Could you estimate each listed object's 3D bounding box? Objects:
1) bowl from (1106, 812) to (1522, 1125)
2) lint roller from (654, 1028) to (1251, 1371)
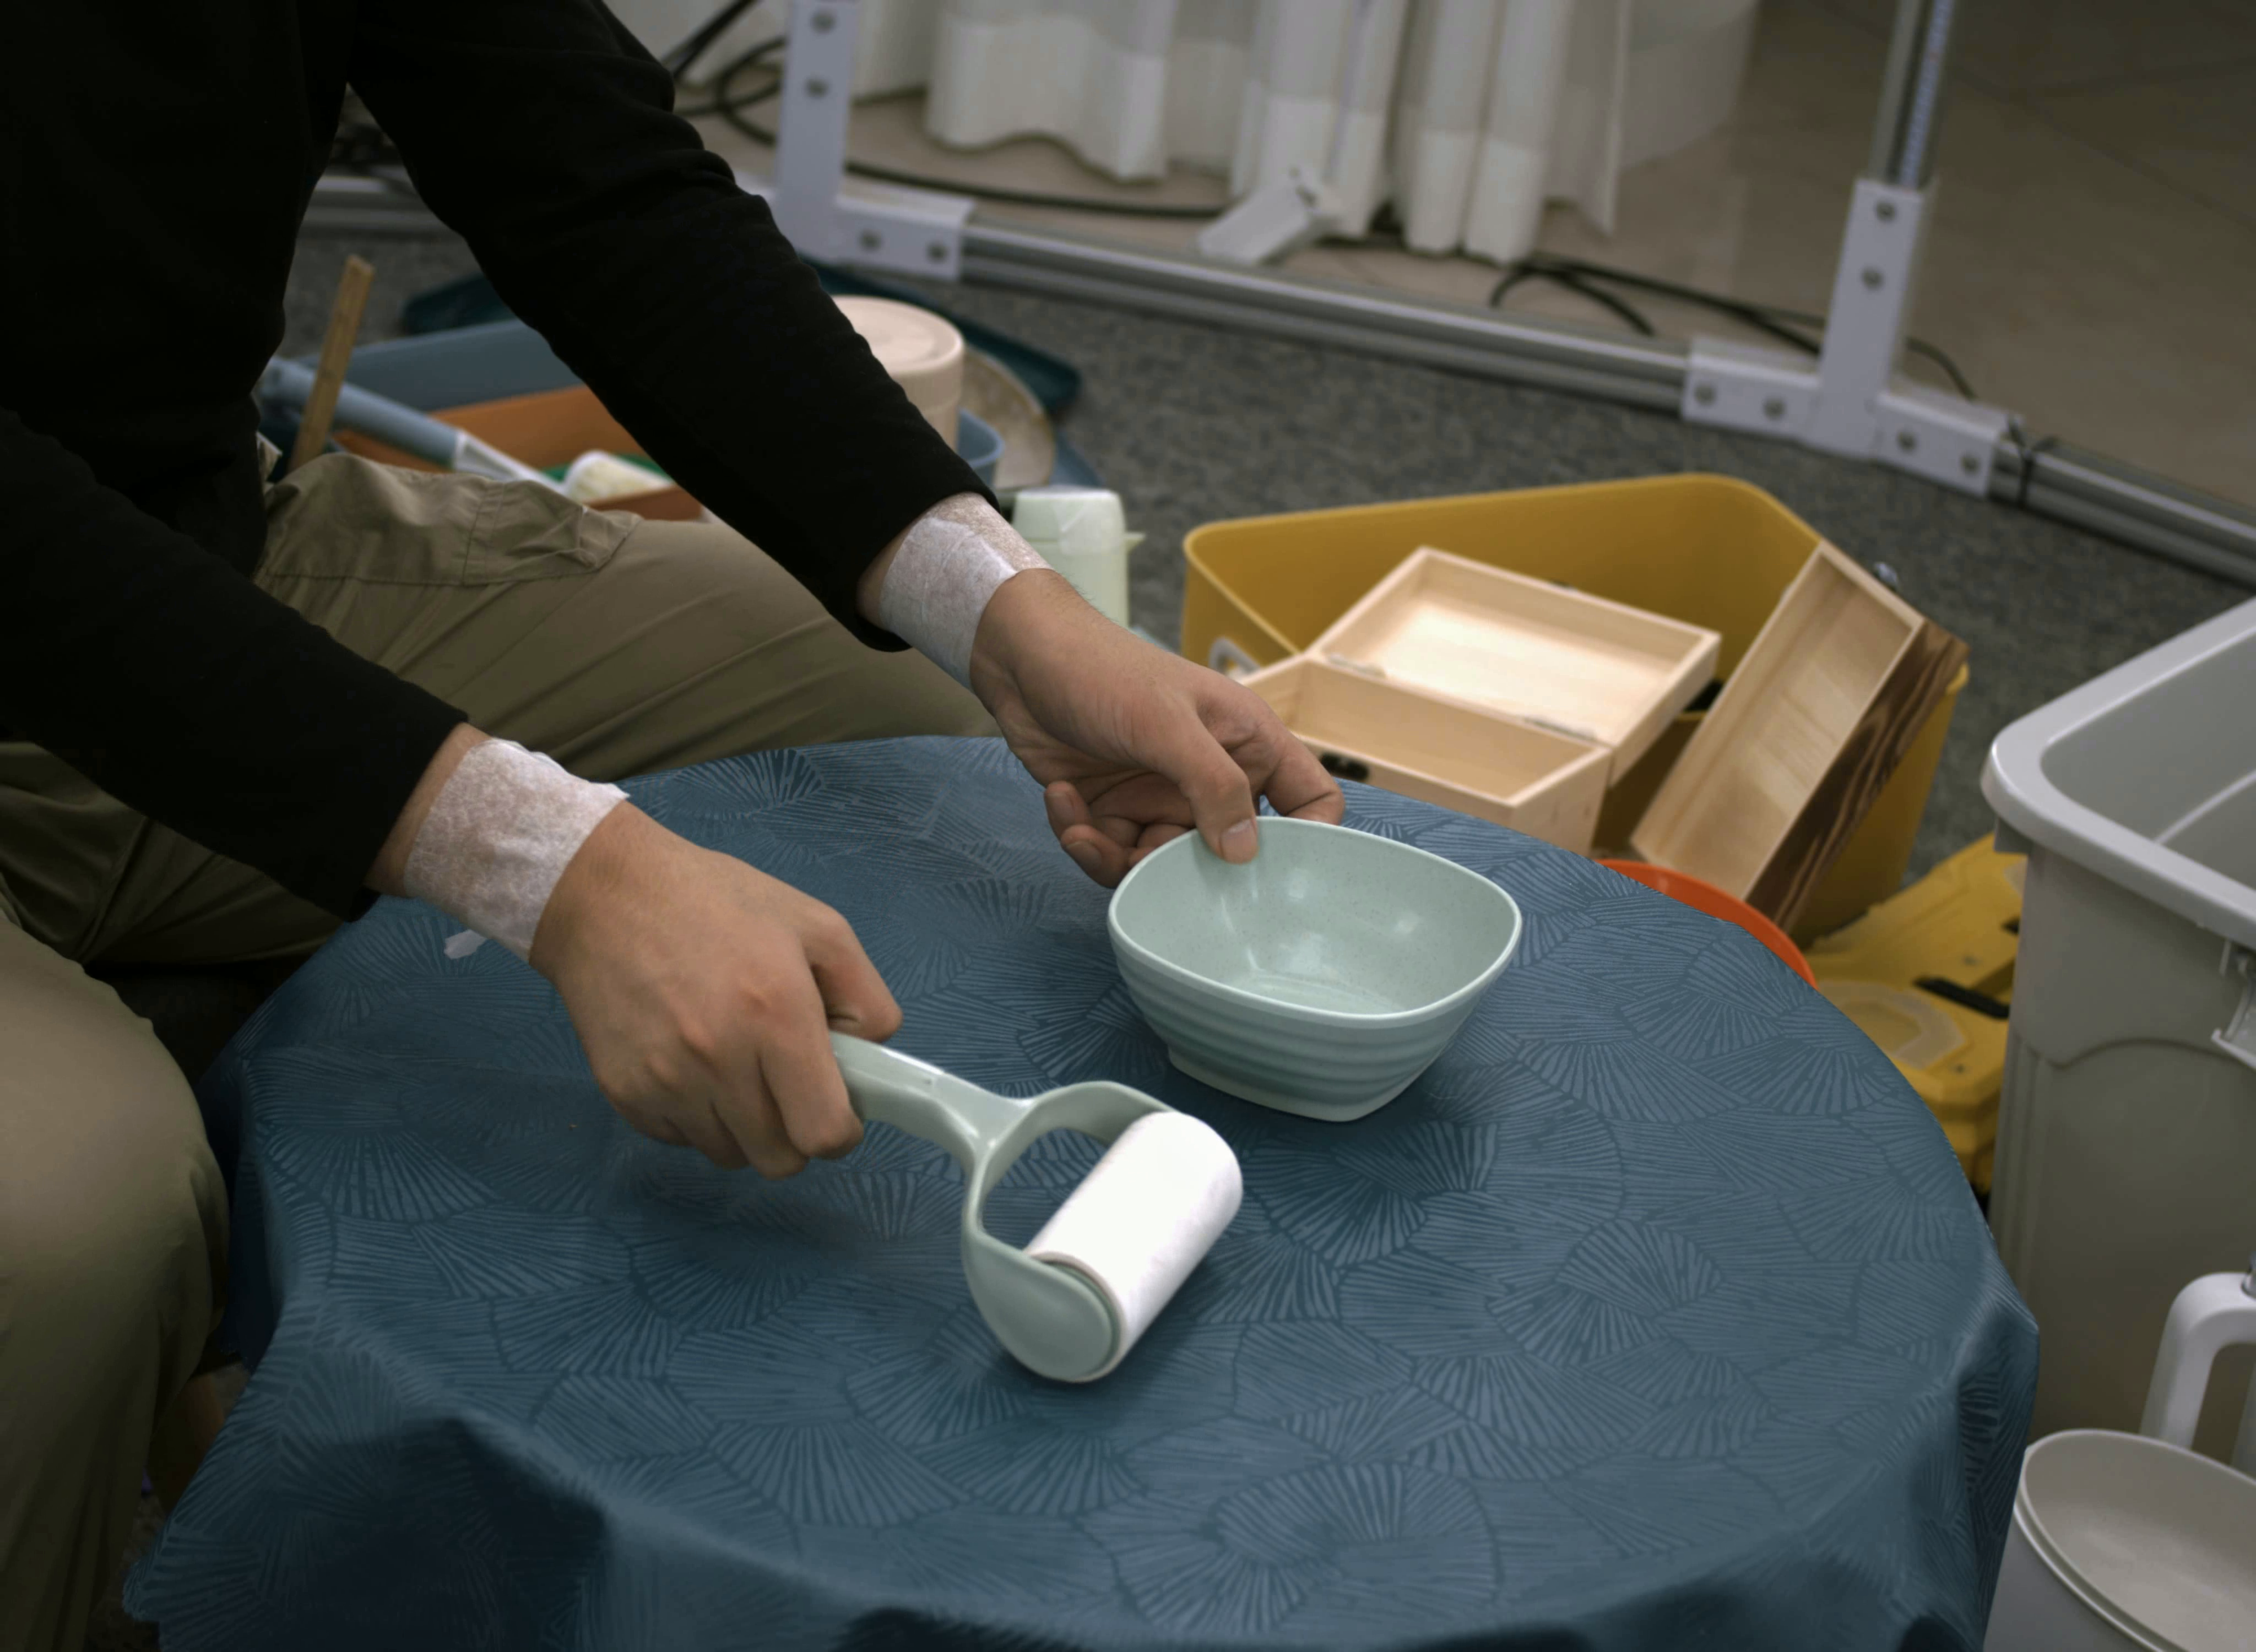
[{"bbox_3d":[0.063,0.056,1.886,0.151,0.058,0.152,5,28,-3],"label":"bowl"},{"bbox_3d":[-0.063,0.101,1.744,0.198,0.048,0.117,26,33,12],"label":"lint roller"}]
